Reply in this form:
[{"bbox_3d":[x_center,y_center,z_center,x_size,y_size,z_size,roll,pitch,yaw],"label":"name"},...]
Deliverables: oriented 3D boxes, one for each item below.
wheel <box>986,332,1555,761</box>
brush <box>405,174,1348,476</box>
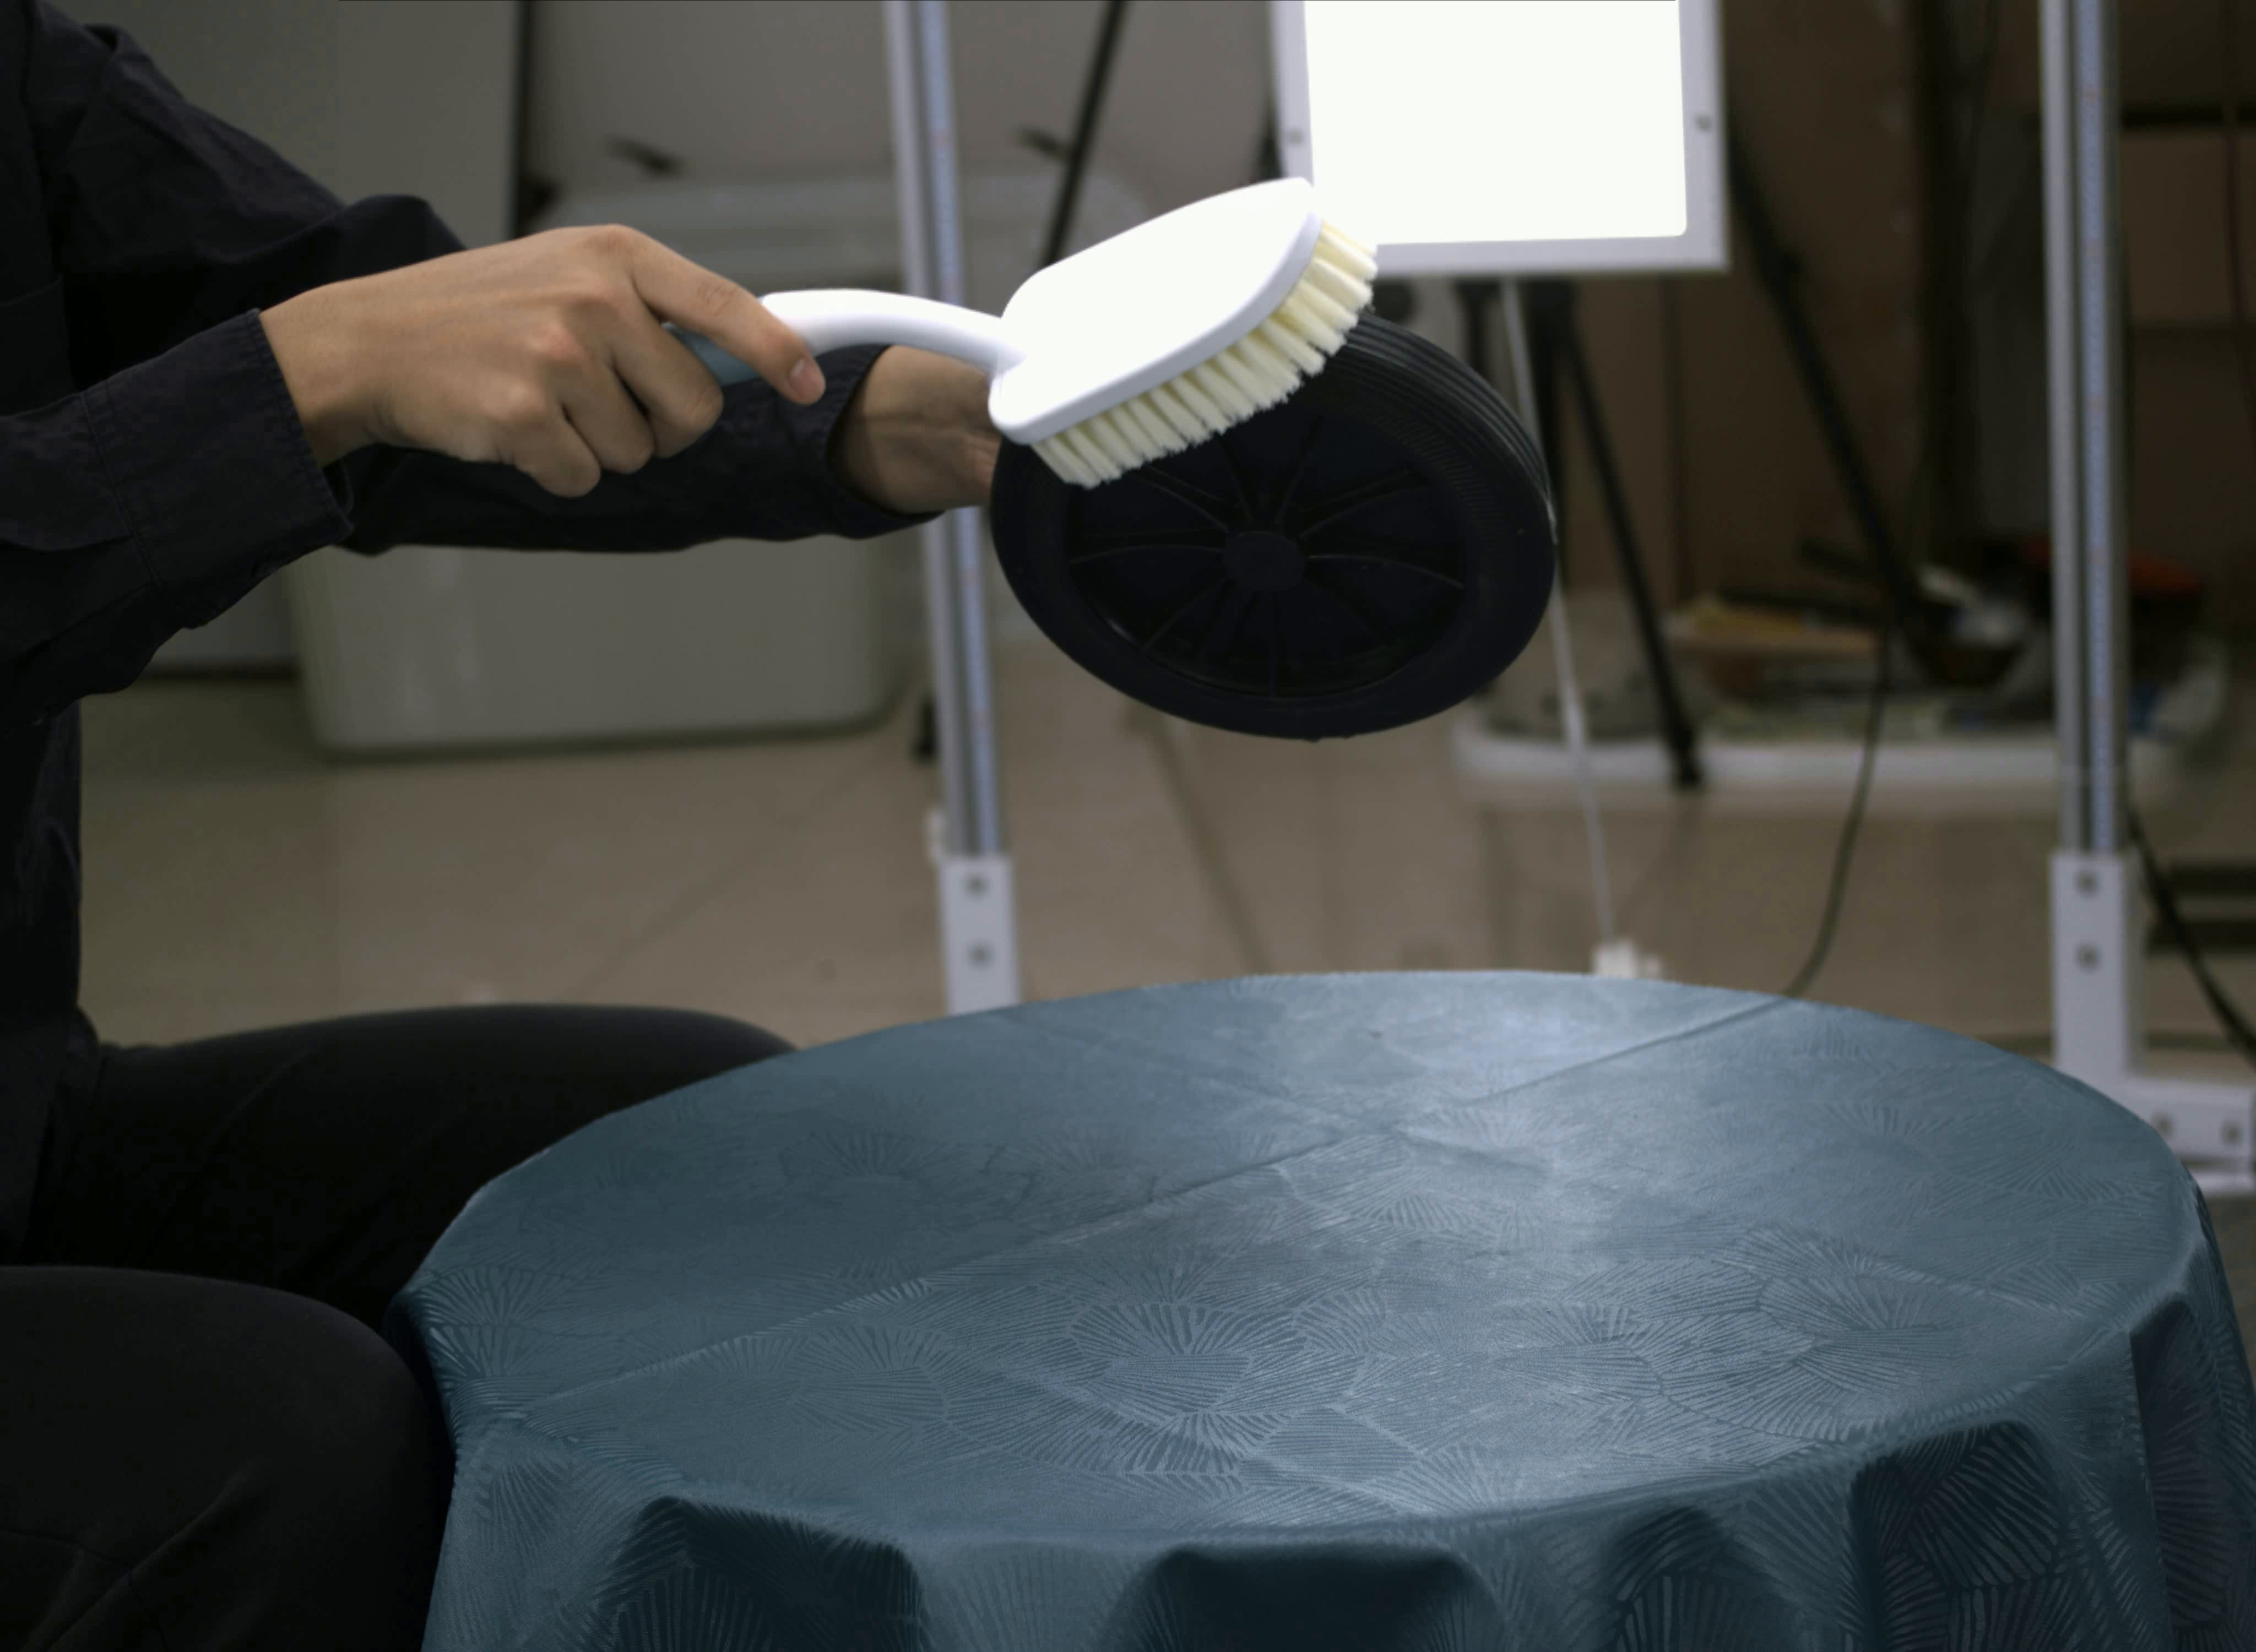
[{"bbox_3d":[0.050,-0.107,1.832,0.188,0.190,0.078,17,49,-7],"label":"wheel"},{"bbox_3d":[-0.077,-0.142,1.750,0.331,0.084,0.081,-12,13,25],"label":"brush"}]
